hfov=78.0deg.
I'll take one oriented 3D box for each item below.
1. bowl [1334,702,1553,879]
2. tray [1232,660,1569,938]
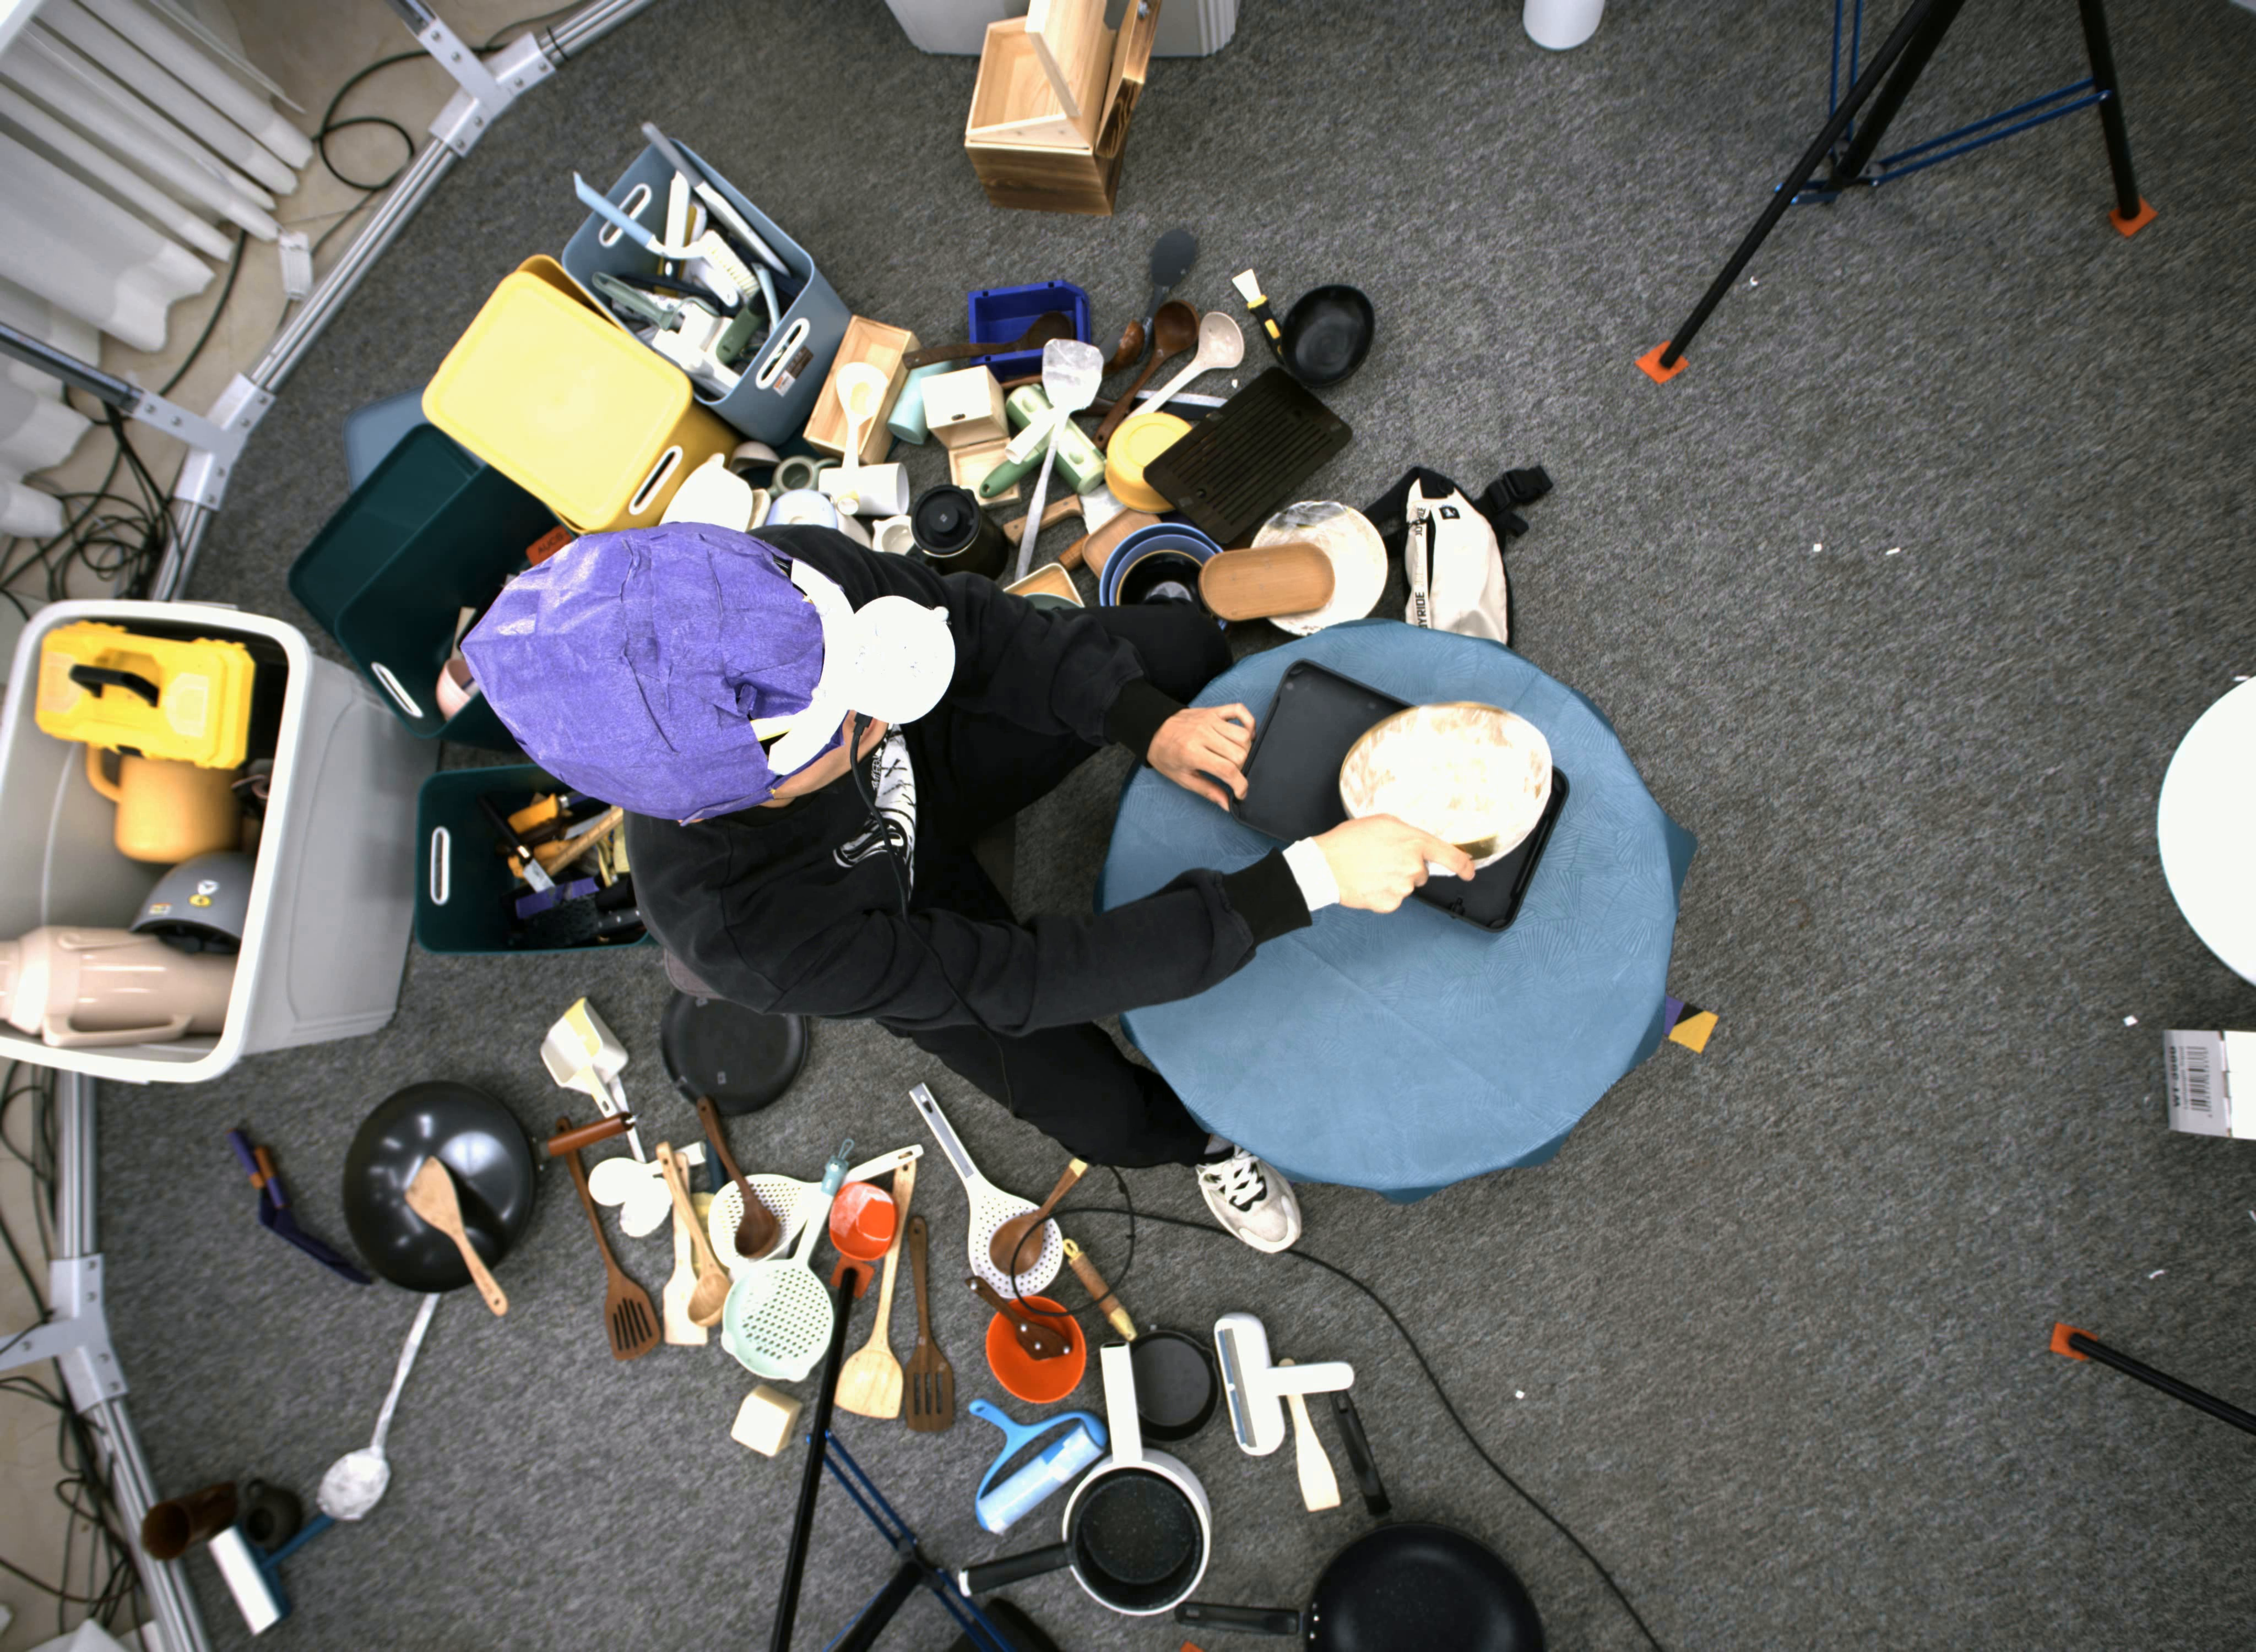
[{"bbox_3d":[0.313,-0.021,1.356,0.216,0.096,0.209,-12,43,11],"label":"bowl"},{"bbox_3d":[0.280,-0.028,1.427,0.318,0.037,0.184,25,90,-1],"label":"tray"}]
